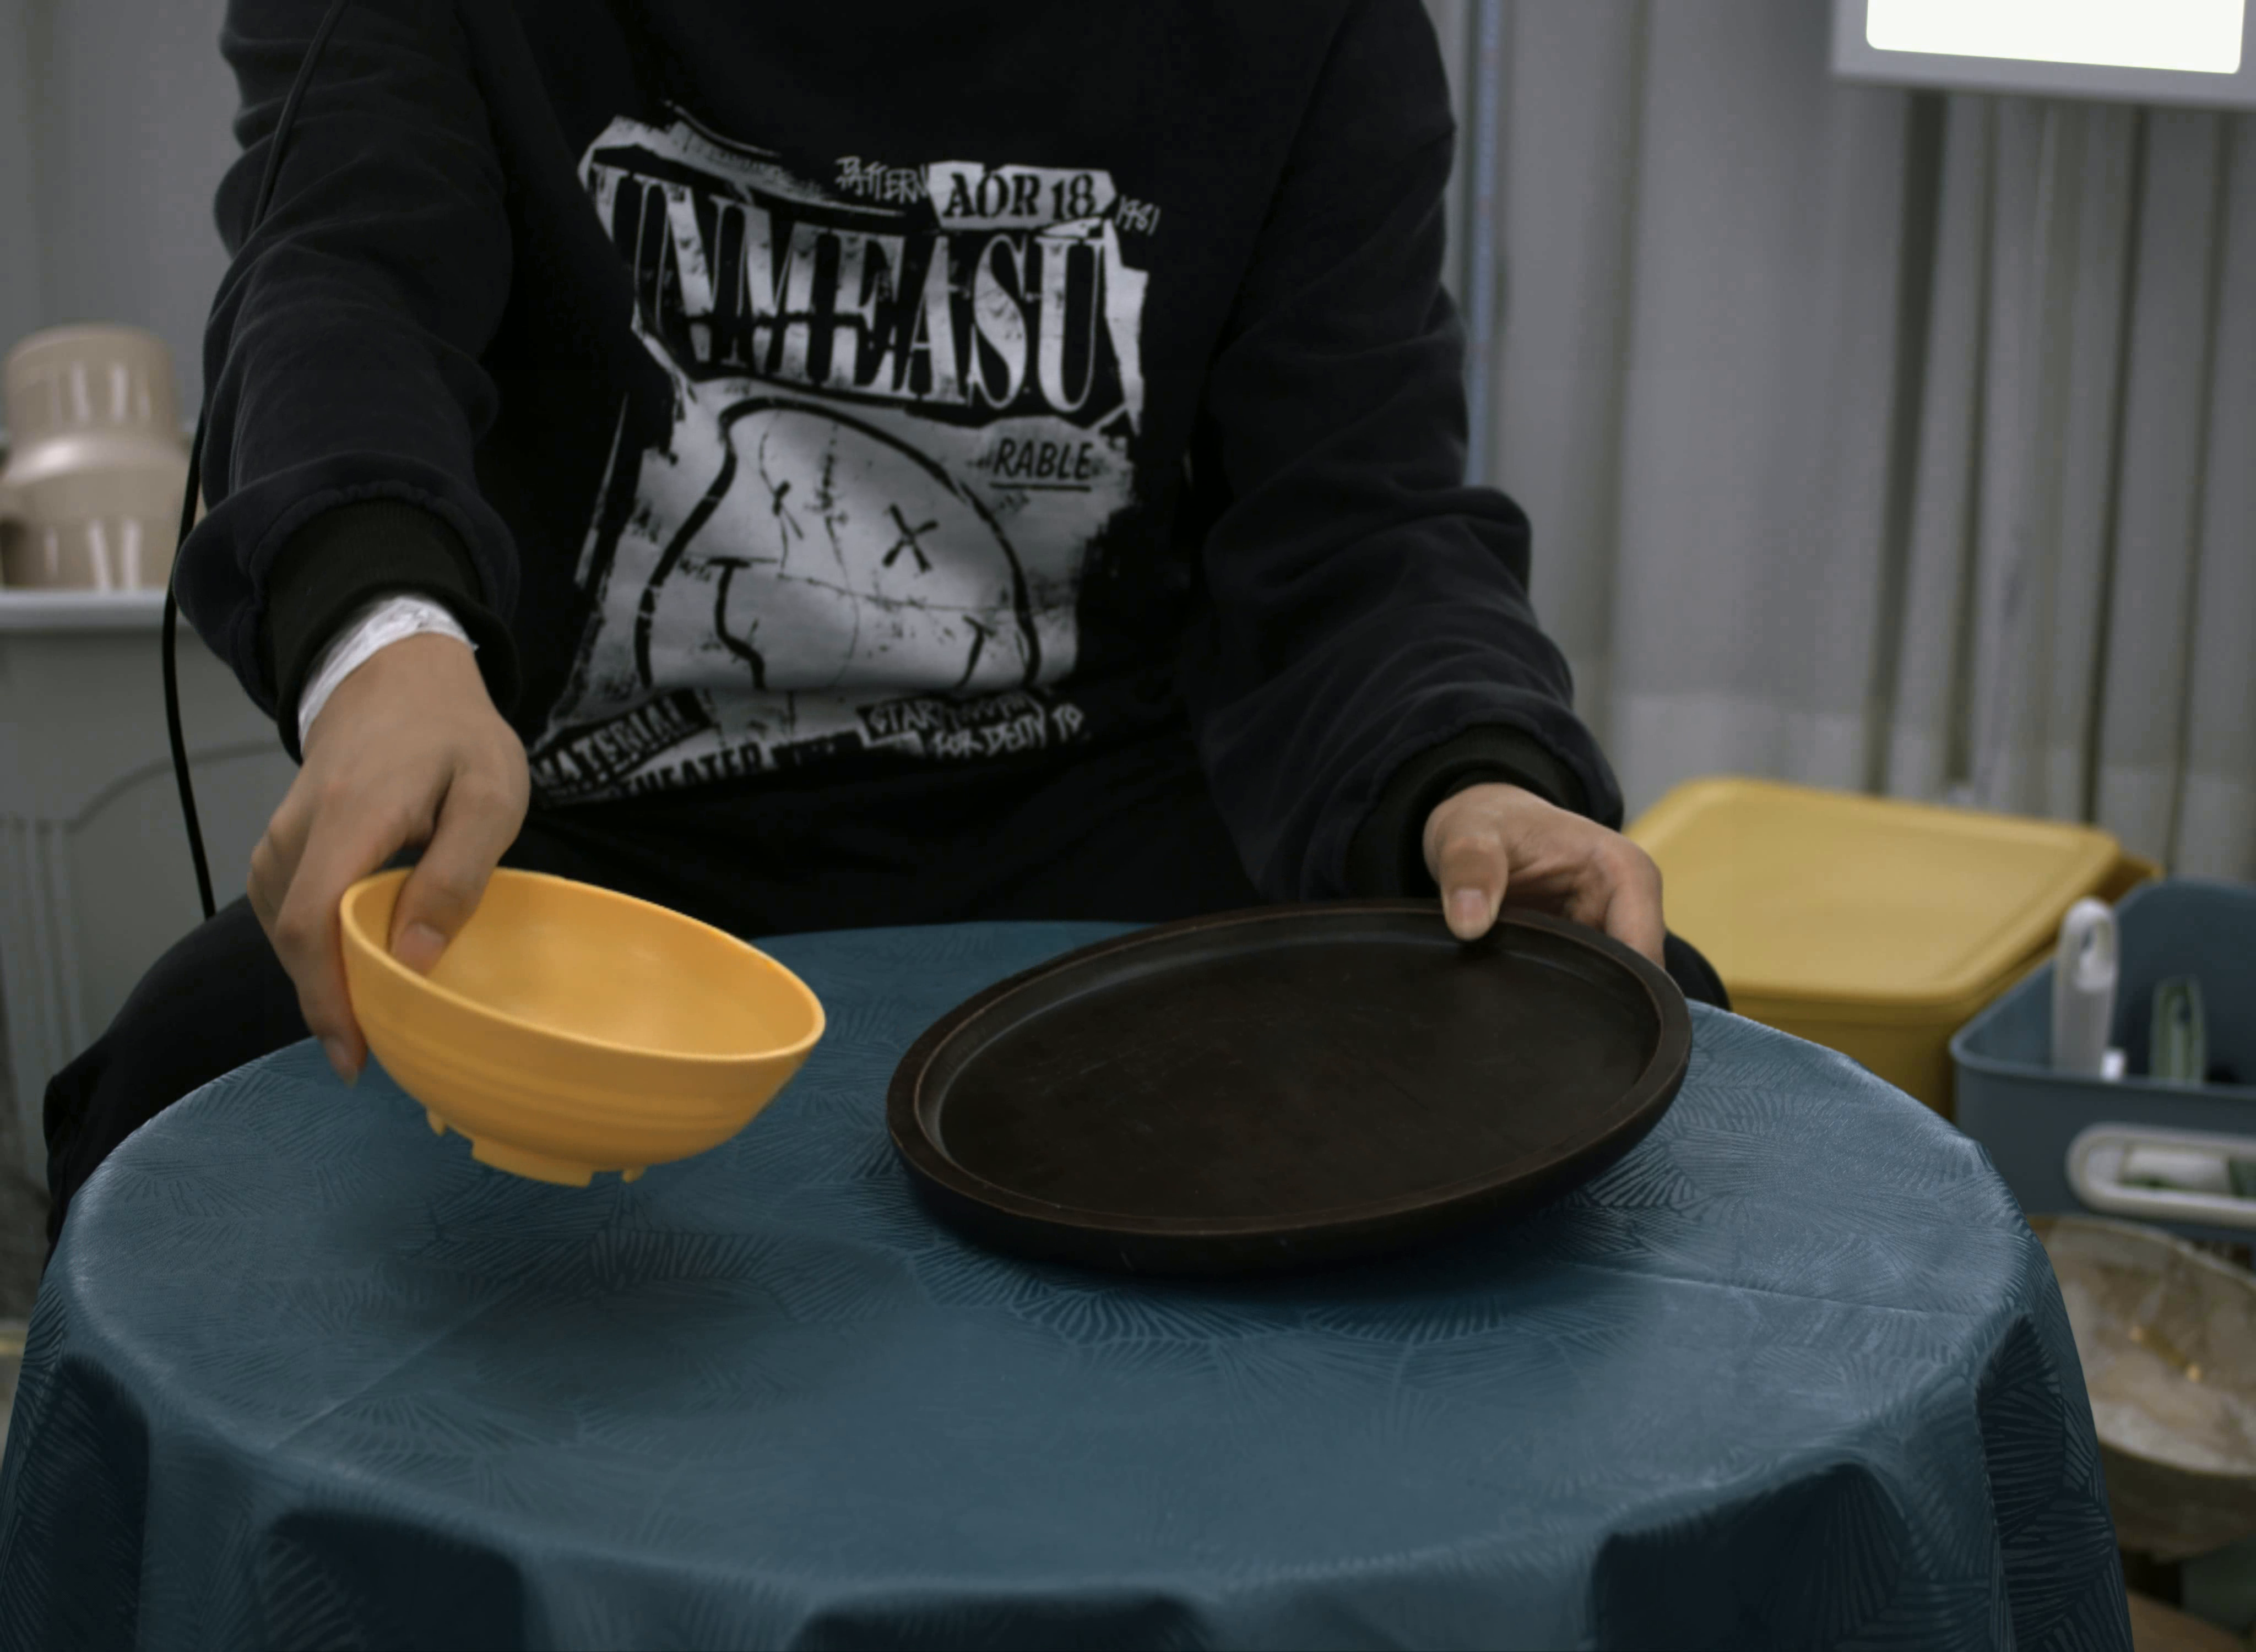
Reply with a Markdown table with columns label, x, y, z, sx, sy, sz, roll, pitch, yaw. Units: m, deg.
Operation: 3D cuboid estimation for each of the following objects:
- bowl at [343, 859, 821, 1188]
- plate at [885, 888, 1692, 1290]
| label | x | y | z | sx | sy | sz | roll | pitch | yaw |
| --- | --- | --- | --- | --- | --- | --- | --- | --- | --- |
| bowl | -0.166 | 0.065 | 1.529 | 0.145 | 0.060 | 0.144 | 18 | 13 | -4 |
| plate | 0.050 | 0.079 | 1.640 | 0.254 | 0.029 | 0.253 | -7 | 22 | 4 |
